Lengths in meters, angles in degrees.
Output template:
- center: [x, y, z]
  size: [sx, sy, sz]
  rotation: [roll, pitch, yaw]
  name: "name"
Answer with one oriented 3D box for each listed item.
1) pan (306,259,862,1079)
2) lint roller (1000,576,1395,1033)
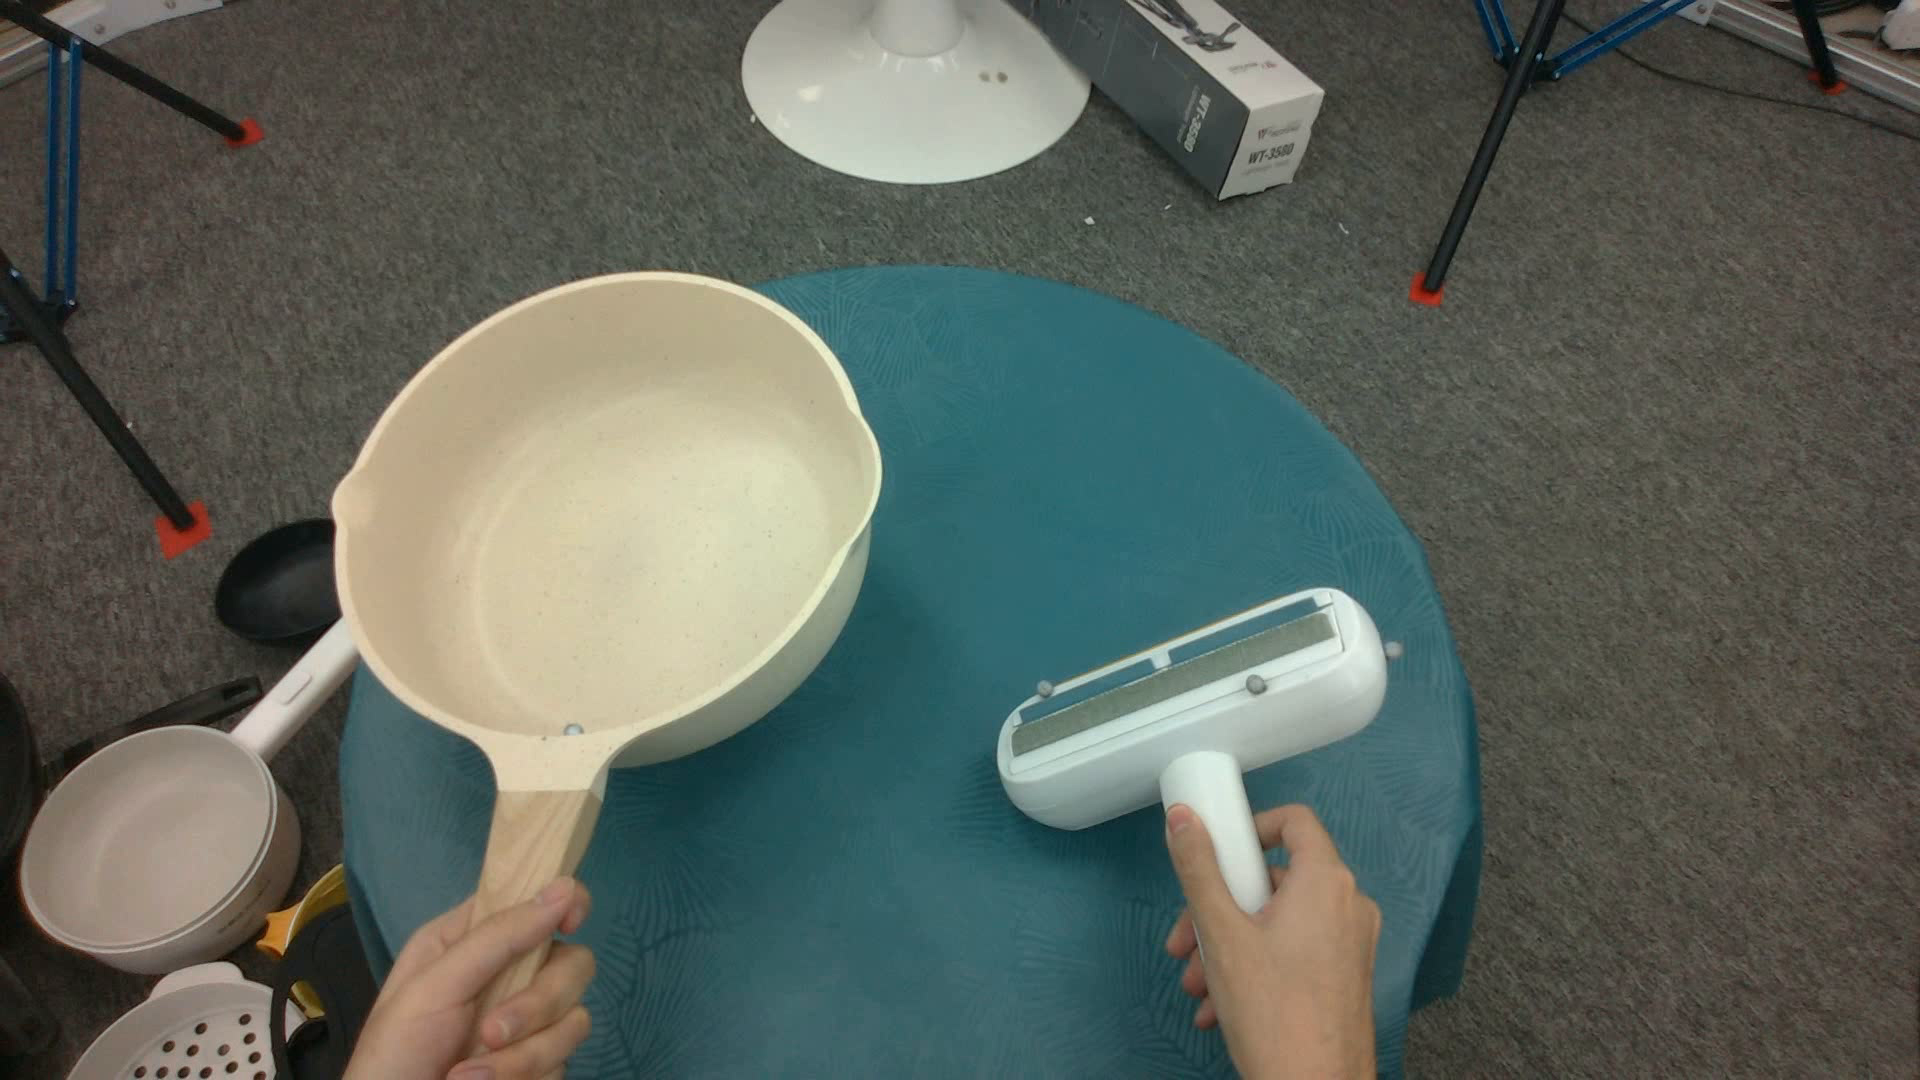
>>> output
- center: [-0.175, 0.067, 0.621]
  size: [0.263, 0.101, 0.436]
  rotation: [-1, 62, 5]
  name: "pan"
- center: [0.111, 0.120, 0.622]
  size: [0.192, 0.074, 0.193]
  rotation: [-17, 43, 19]
  name: "lint roller"
